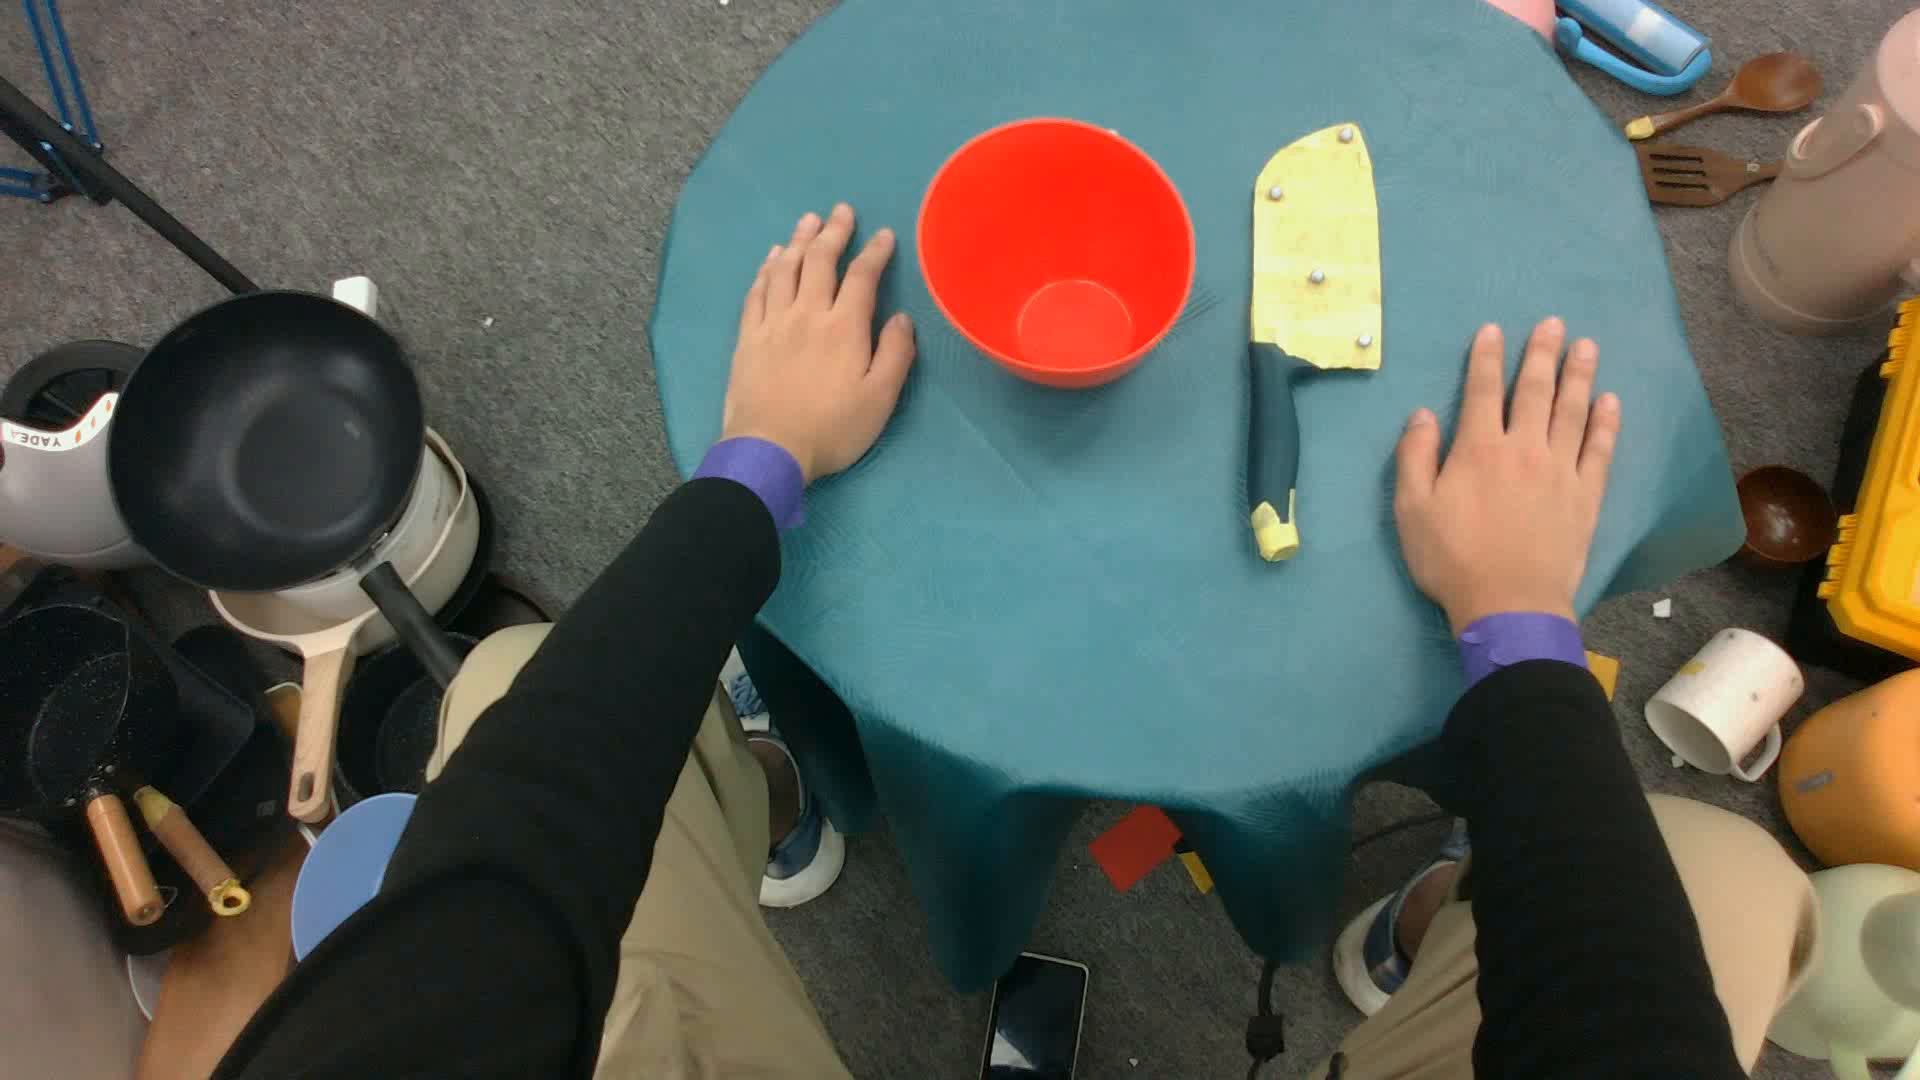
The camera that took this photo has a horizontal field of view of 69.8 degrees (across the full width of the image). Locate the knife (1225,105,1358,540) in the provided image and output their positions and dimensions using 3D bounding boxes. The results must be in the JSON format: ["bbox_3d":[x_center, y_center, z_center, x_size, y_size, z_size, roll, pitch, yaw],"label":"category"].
[{"bbox_3d":[0.189,-0.134,0.797,0.081,0.027,0.290,5,69,7],"label":"knife"}]

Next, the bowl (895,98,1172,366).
[{"bbox_3d":[0.042,-0.156,0.769,0.148,0.104,0.148,-1,70,2],"label":"bowl"}]
